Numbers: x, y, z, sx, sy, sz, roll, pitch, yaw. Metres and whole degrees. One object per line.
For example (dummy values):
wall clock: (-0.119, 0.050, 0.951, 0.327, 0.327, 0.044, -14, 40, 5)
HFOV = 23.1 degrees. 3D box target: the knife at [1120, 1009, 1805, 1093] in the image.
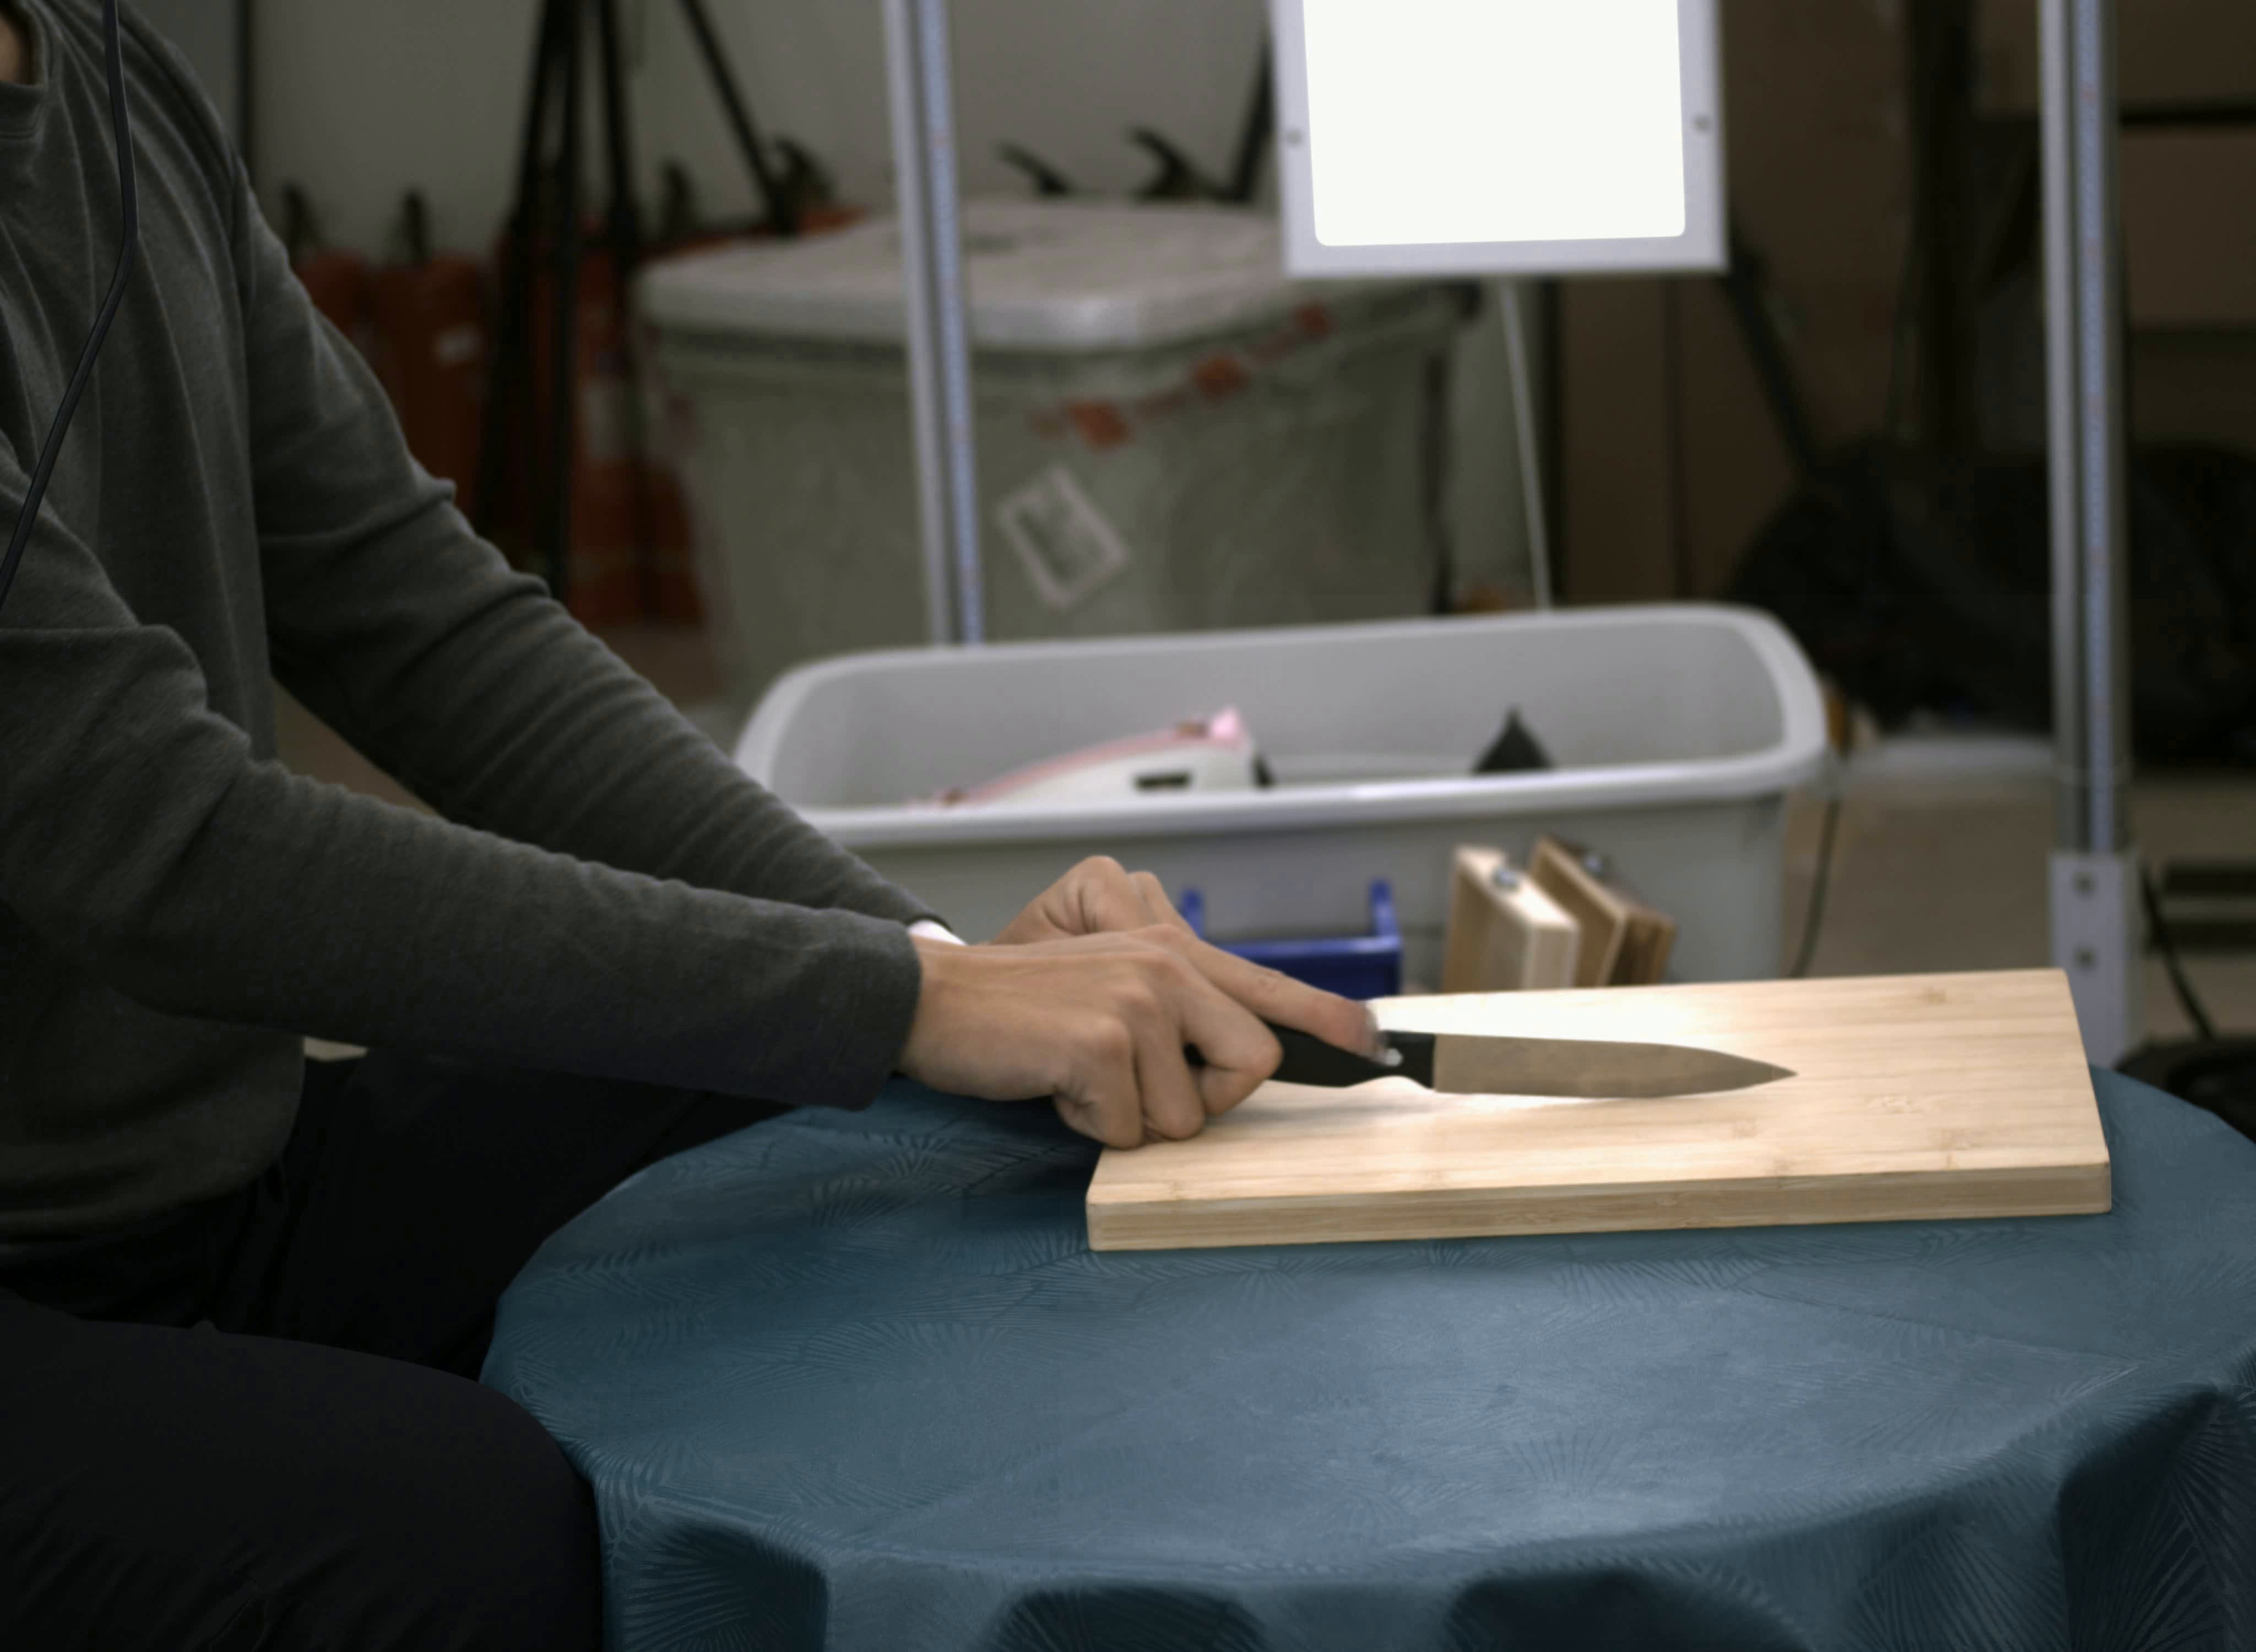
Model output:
knife: (0.116, 0.079, 1.903, 0.239, 0.024, 0.016, 4, 11, 8)

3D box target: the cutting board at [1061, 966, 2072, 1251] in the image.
cutting board: (0.161, 0.098, 1.928, 0.350, 0.023, 0.249, -3, 13, 8)
